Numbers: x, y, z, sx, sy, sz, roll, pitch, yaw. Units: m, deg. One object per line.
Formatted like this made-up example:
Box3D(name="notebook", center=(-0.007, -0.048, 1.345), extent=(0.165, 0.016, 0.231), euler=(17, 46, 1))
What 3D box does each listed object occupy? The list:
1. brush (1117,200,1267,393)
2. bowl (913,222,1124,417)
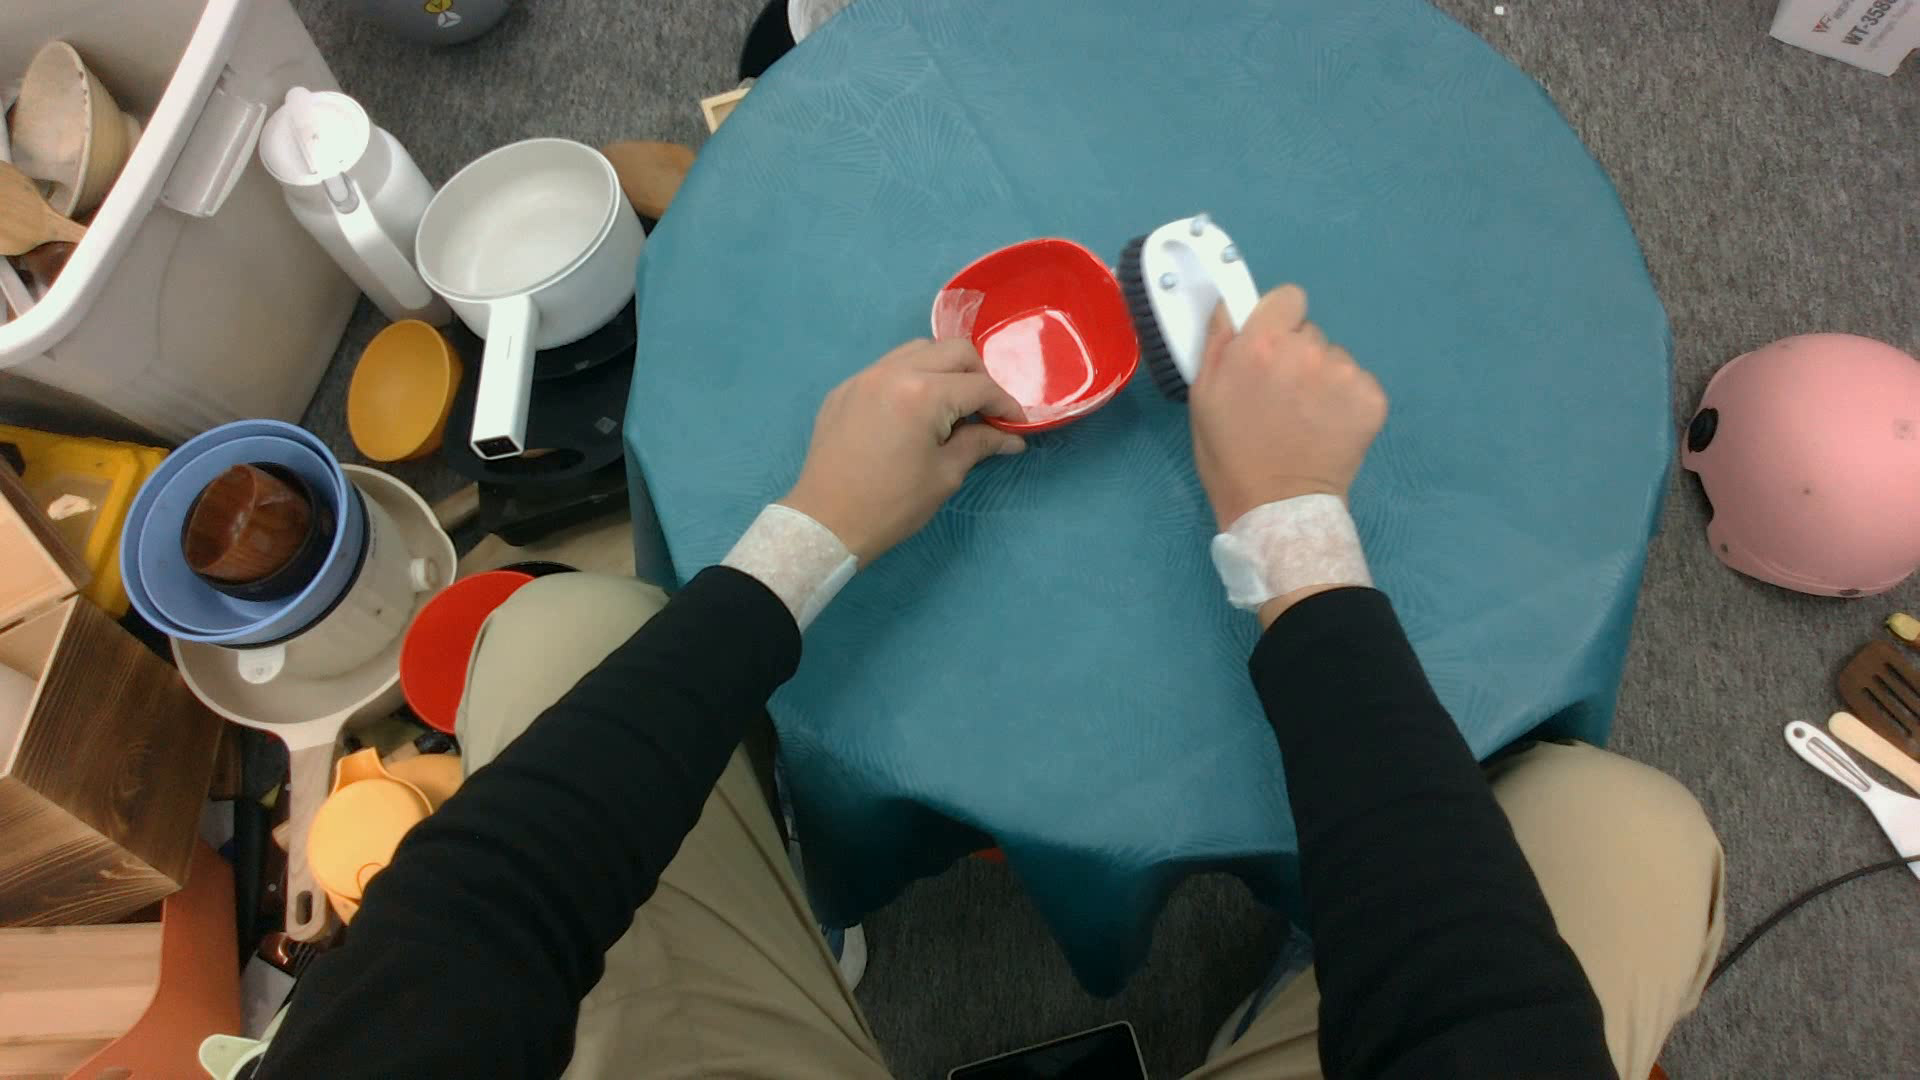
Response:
Box3D(name="brush", center=(0.128, -0.128, 0.718), extent=(0.050, 0.072, 0.099), euler=(-20, 99, -25))
Box3D(name="bowl", center=(0.033, -0.116, 0.778), extent=(0.119, 0.051, 0.119), euler=(0, 70, 1))
